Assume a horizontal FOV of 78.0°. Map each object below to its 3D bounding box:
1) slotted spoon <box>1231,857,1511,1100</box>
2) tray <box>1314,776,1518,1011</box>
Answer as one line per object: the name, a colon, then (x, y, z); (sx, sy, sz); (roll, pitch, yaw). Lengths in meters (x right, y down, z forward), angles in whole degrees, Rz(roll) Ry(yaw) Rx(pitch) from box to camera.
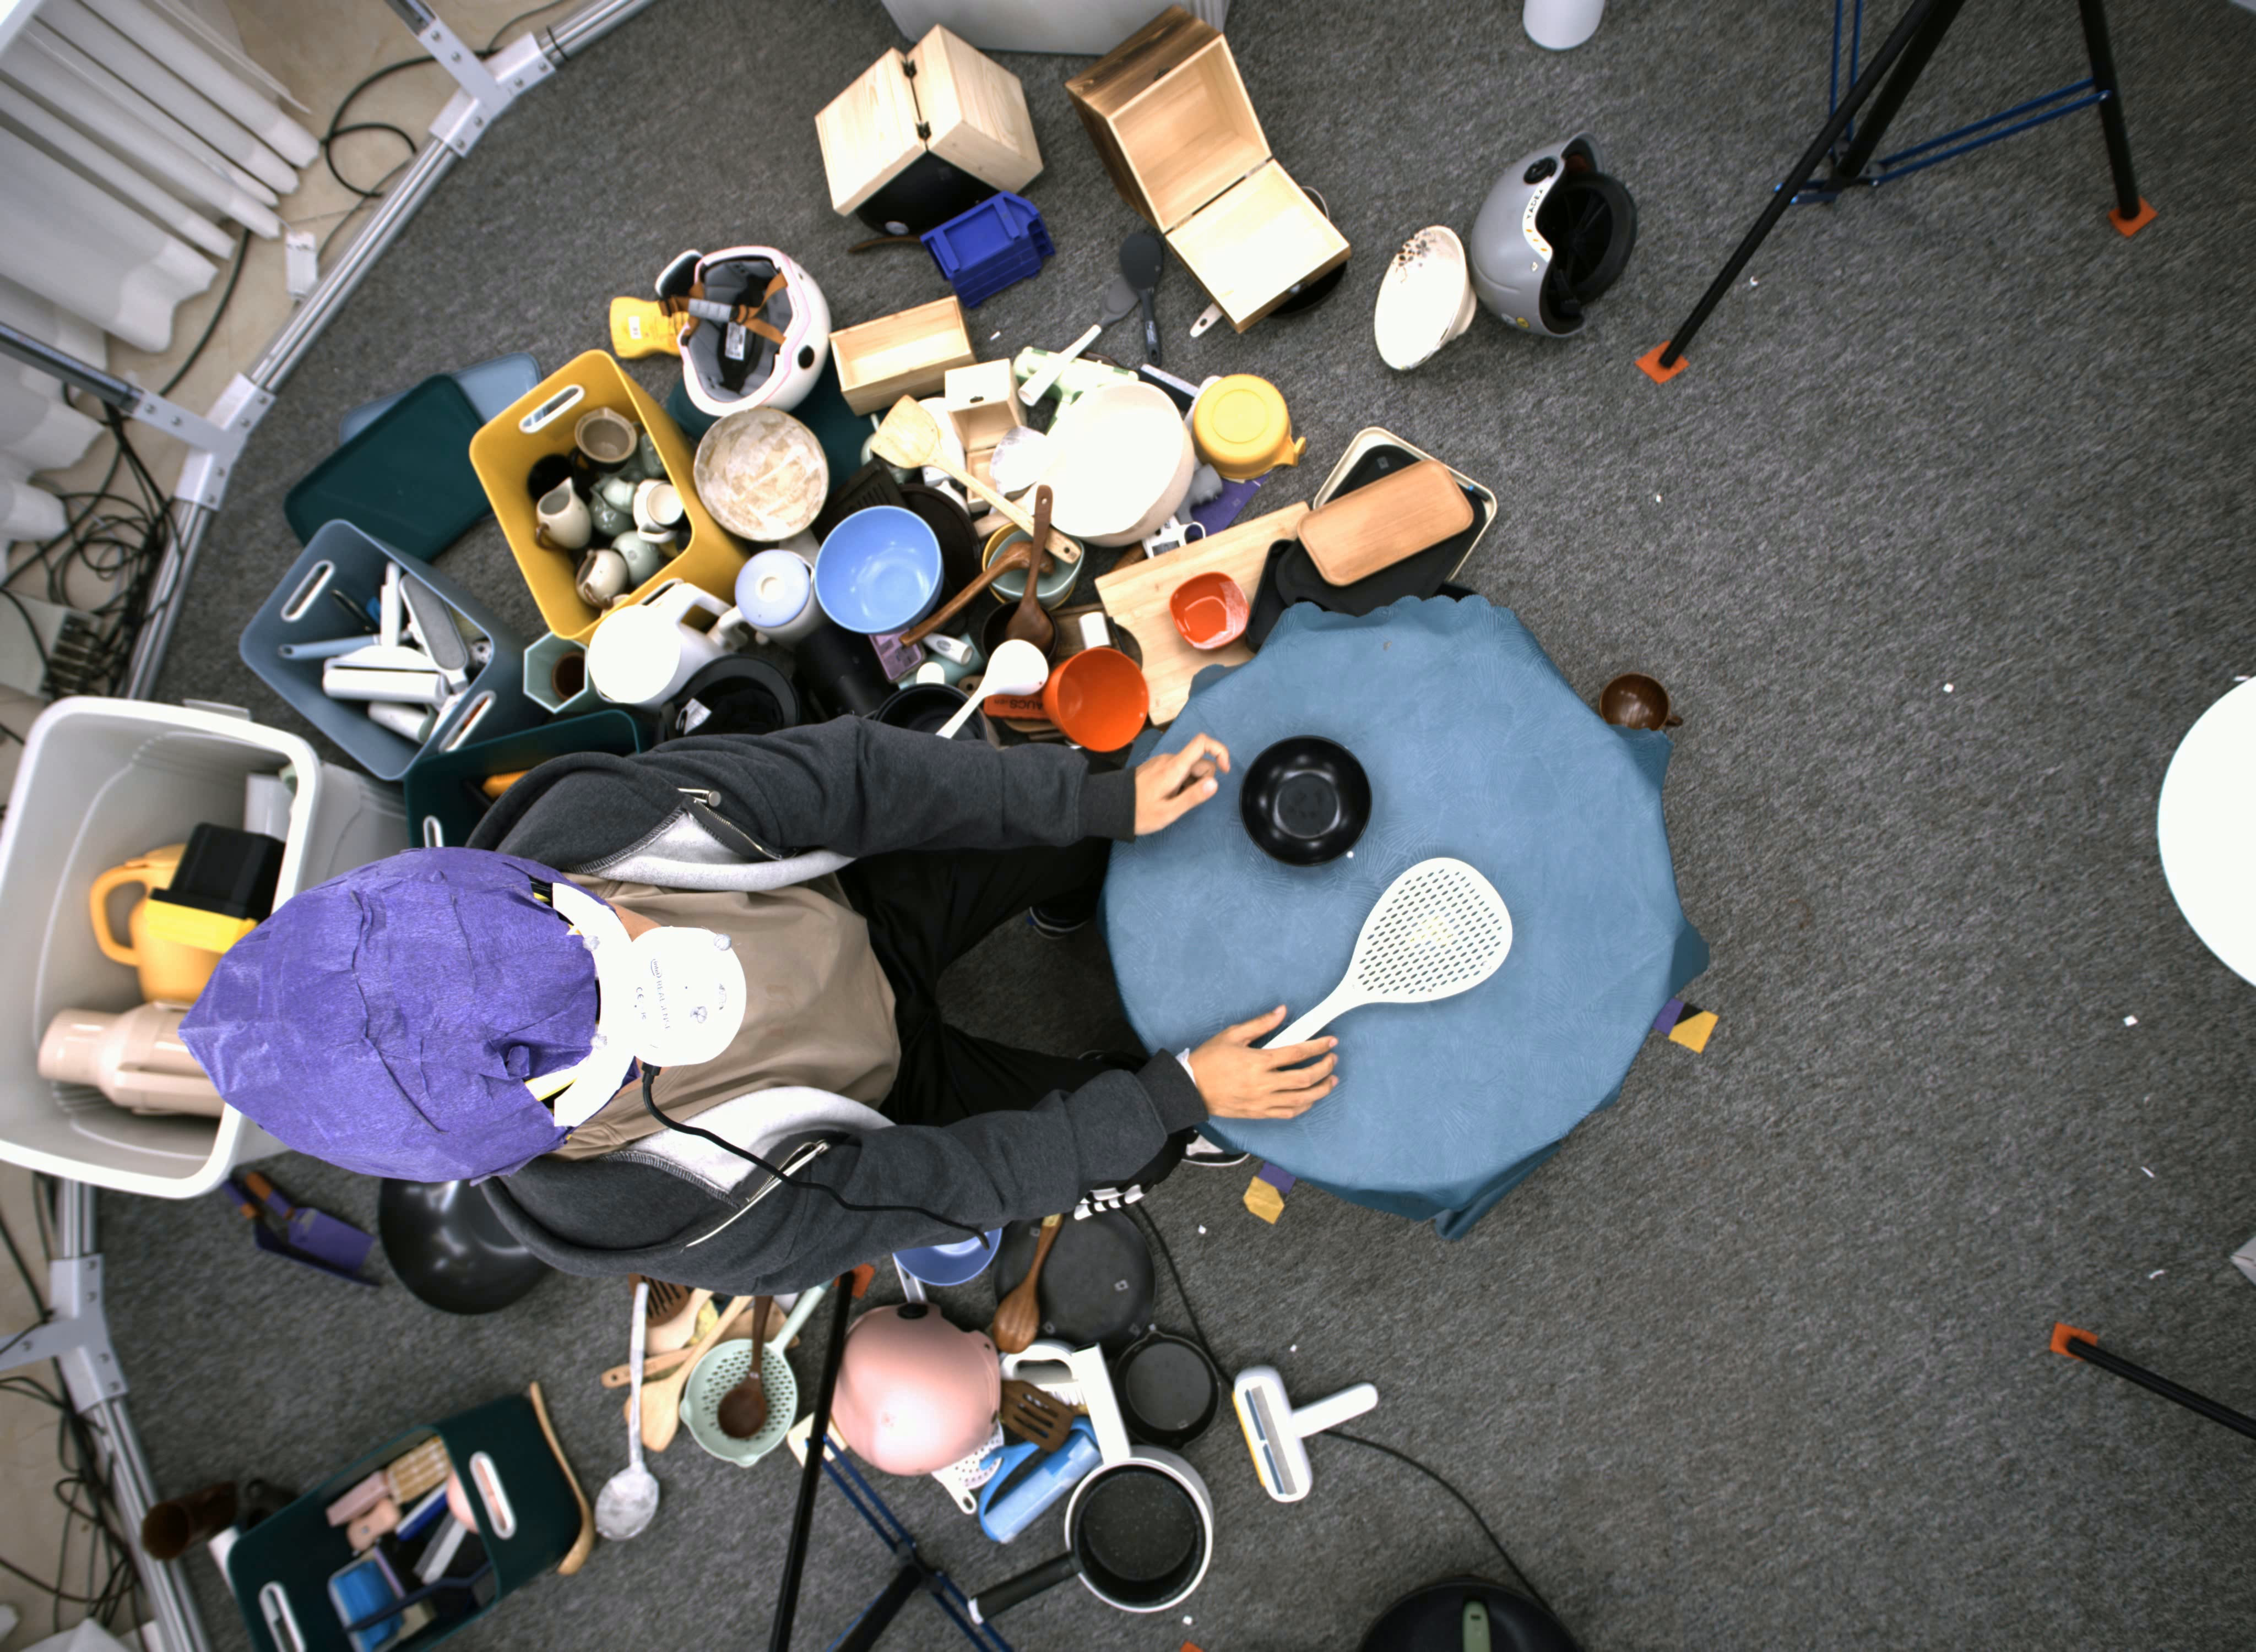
slotted spoon: (0.238, 0.170, 1.439); (0.350, 0.050, 0.136); (-39, 82, 7)
tray: (0.414, 0.094, 1.987); (0.191, 0.027, 0.300); (27, 91, 11)
